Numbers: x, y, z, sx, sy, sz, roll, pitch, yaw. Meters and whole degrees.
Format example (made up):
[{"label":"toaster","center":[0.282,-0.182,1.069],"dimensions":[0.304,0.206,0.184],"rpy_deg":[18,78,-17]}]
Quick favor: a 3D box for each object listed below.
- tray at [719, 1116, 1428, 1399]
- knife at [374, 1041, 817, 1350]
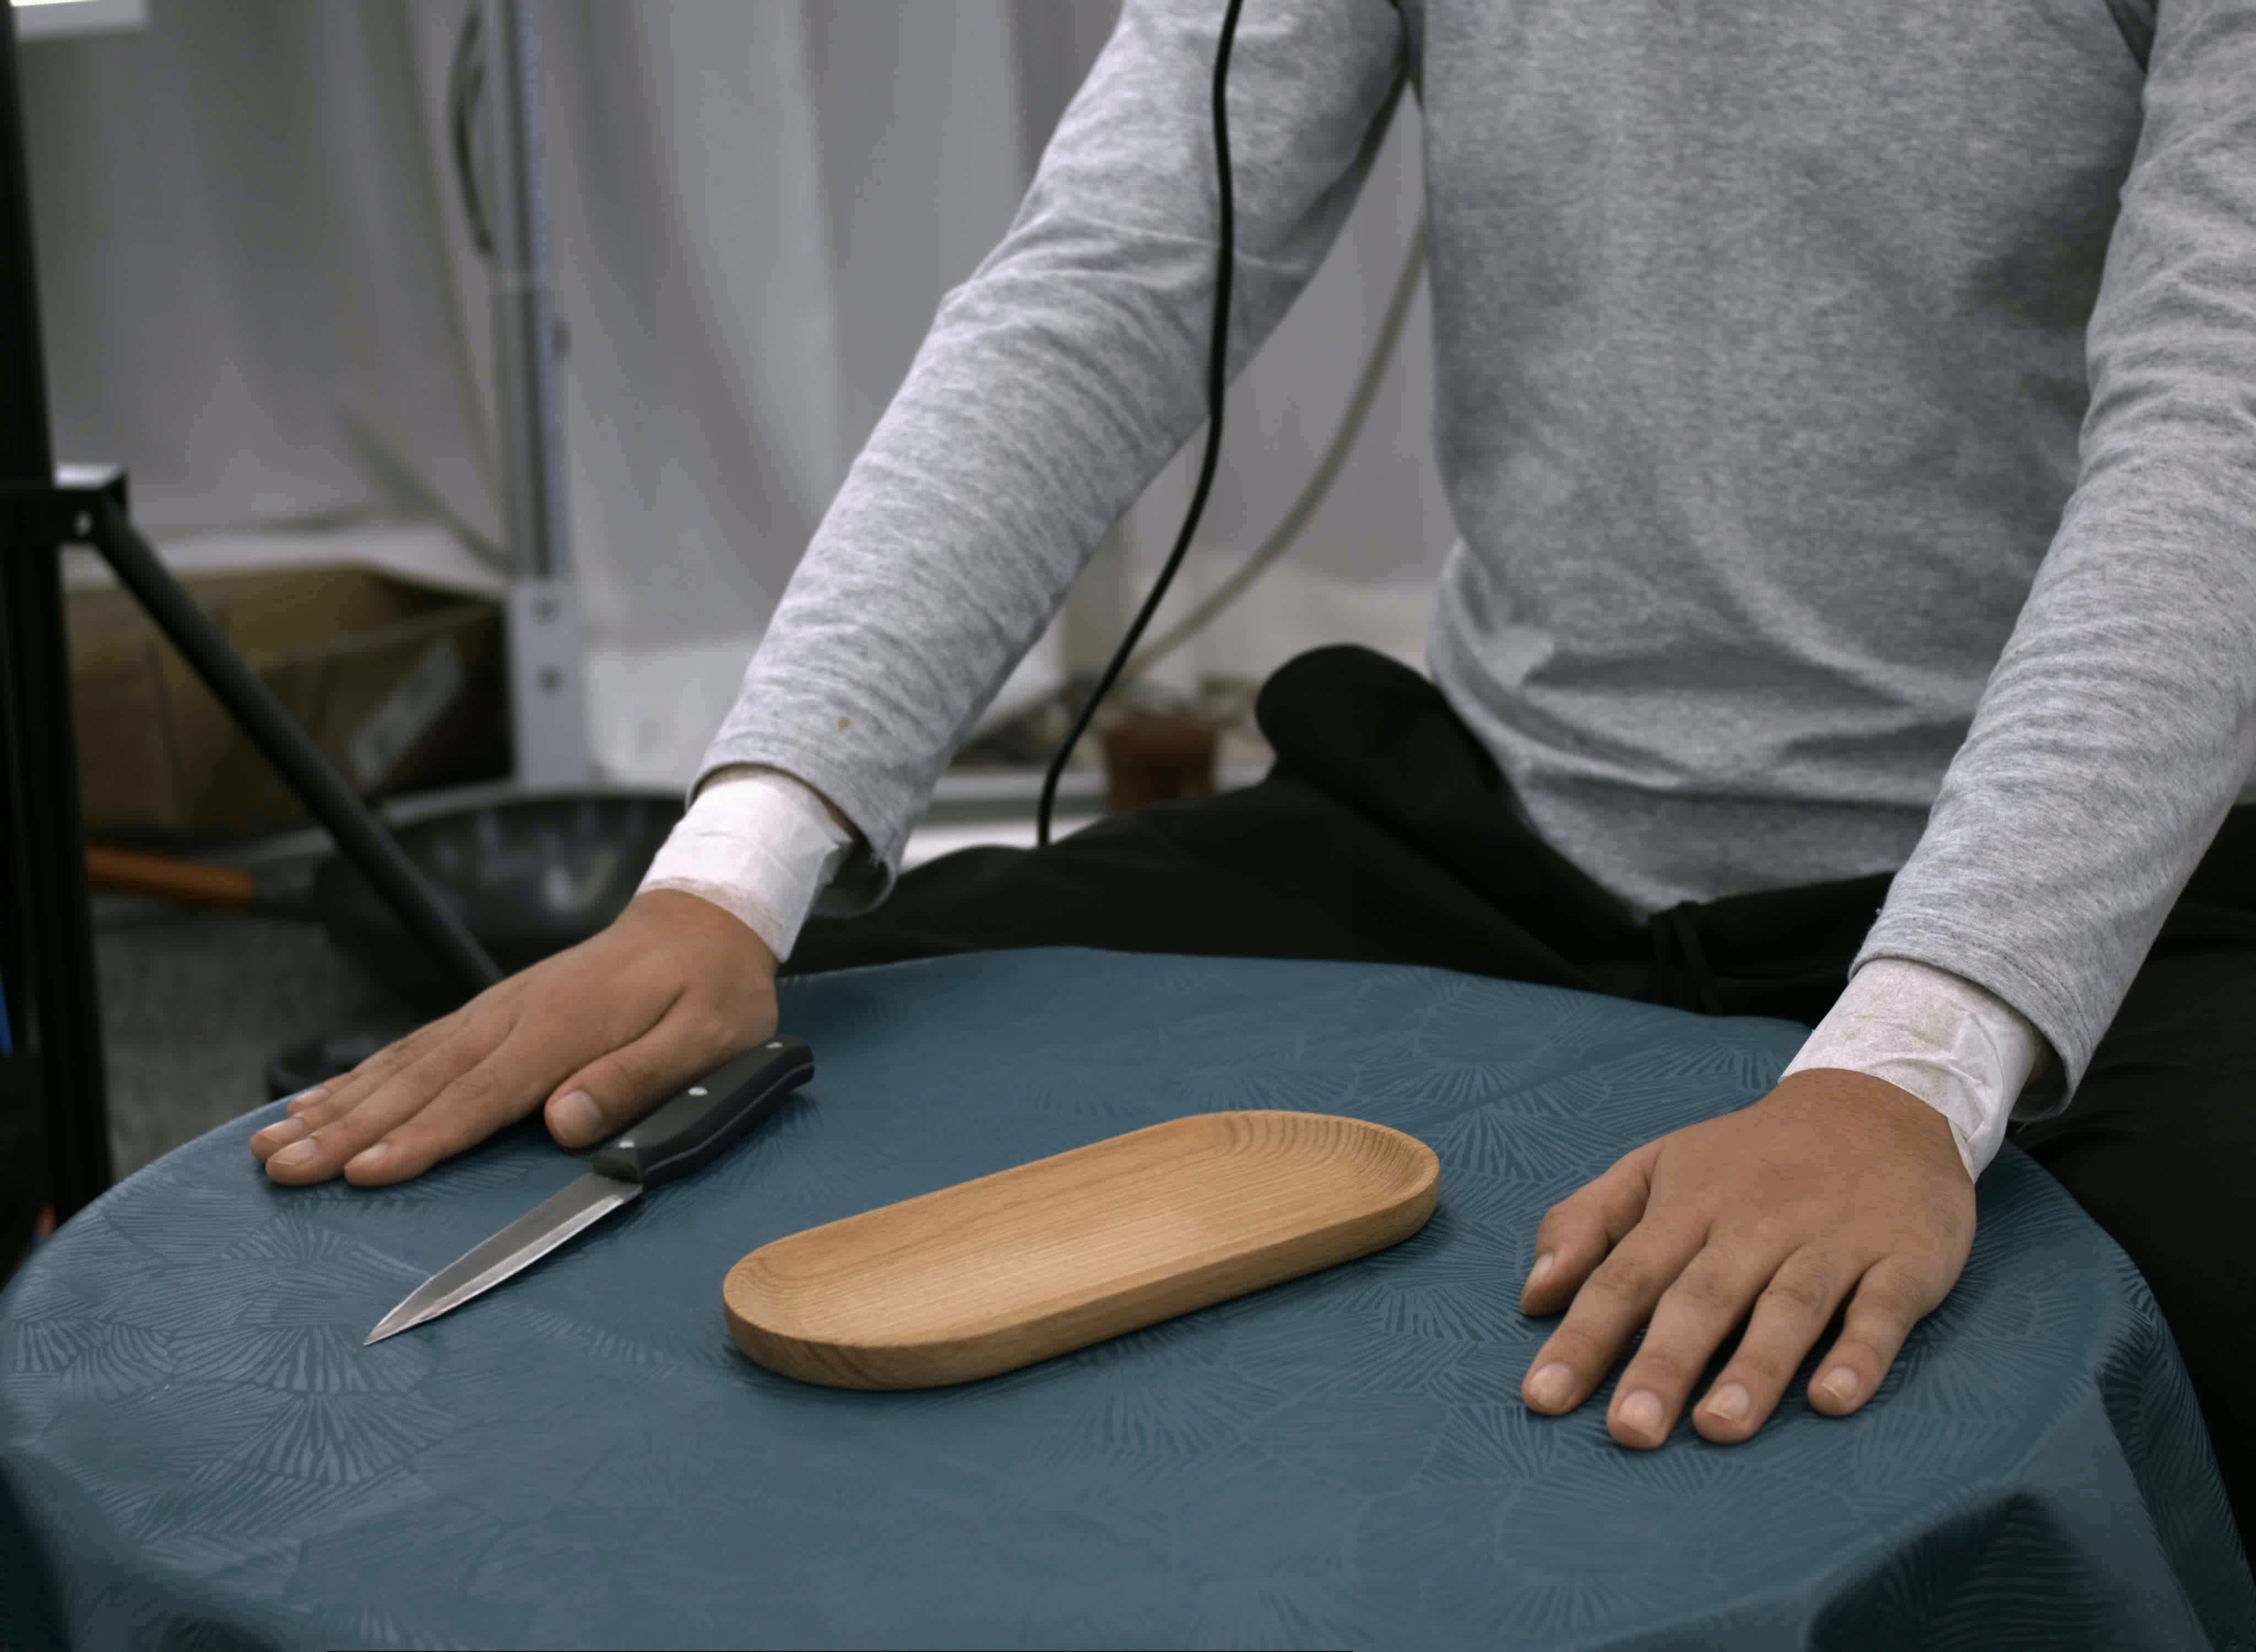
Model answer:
[{"label":"tray","center":[-0.012,0.120,1.494],"dimensions":[0.226,0.020,0.104],"rpy_deg":[-16,20,-37]},{"label":"knife","center":[-0.157,0.108,1.566],"dimensions":[0.025,0.016,0.234],"rpy_deg":[8,21,25]}]
